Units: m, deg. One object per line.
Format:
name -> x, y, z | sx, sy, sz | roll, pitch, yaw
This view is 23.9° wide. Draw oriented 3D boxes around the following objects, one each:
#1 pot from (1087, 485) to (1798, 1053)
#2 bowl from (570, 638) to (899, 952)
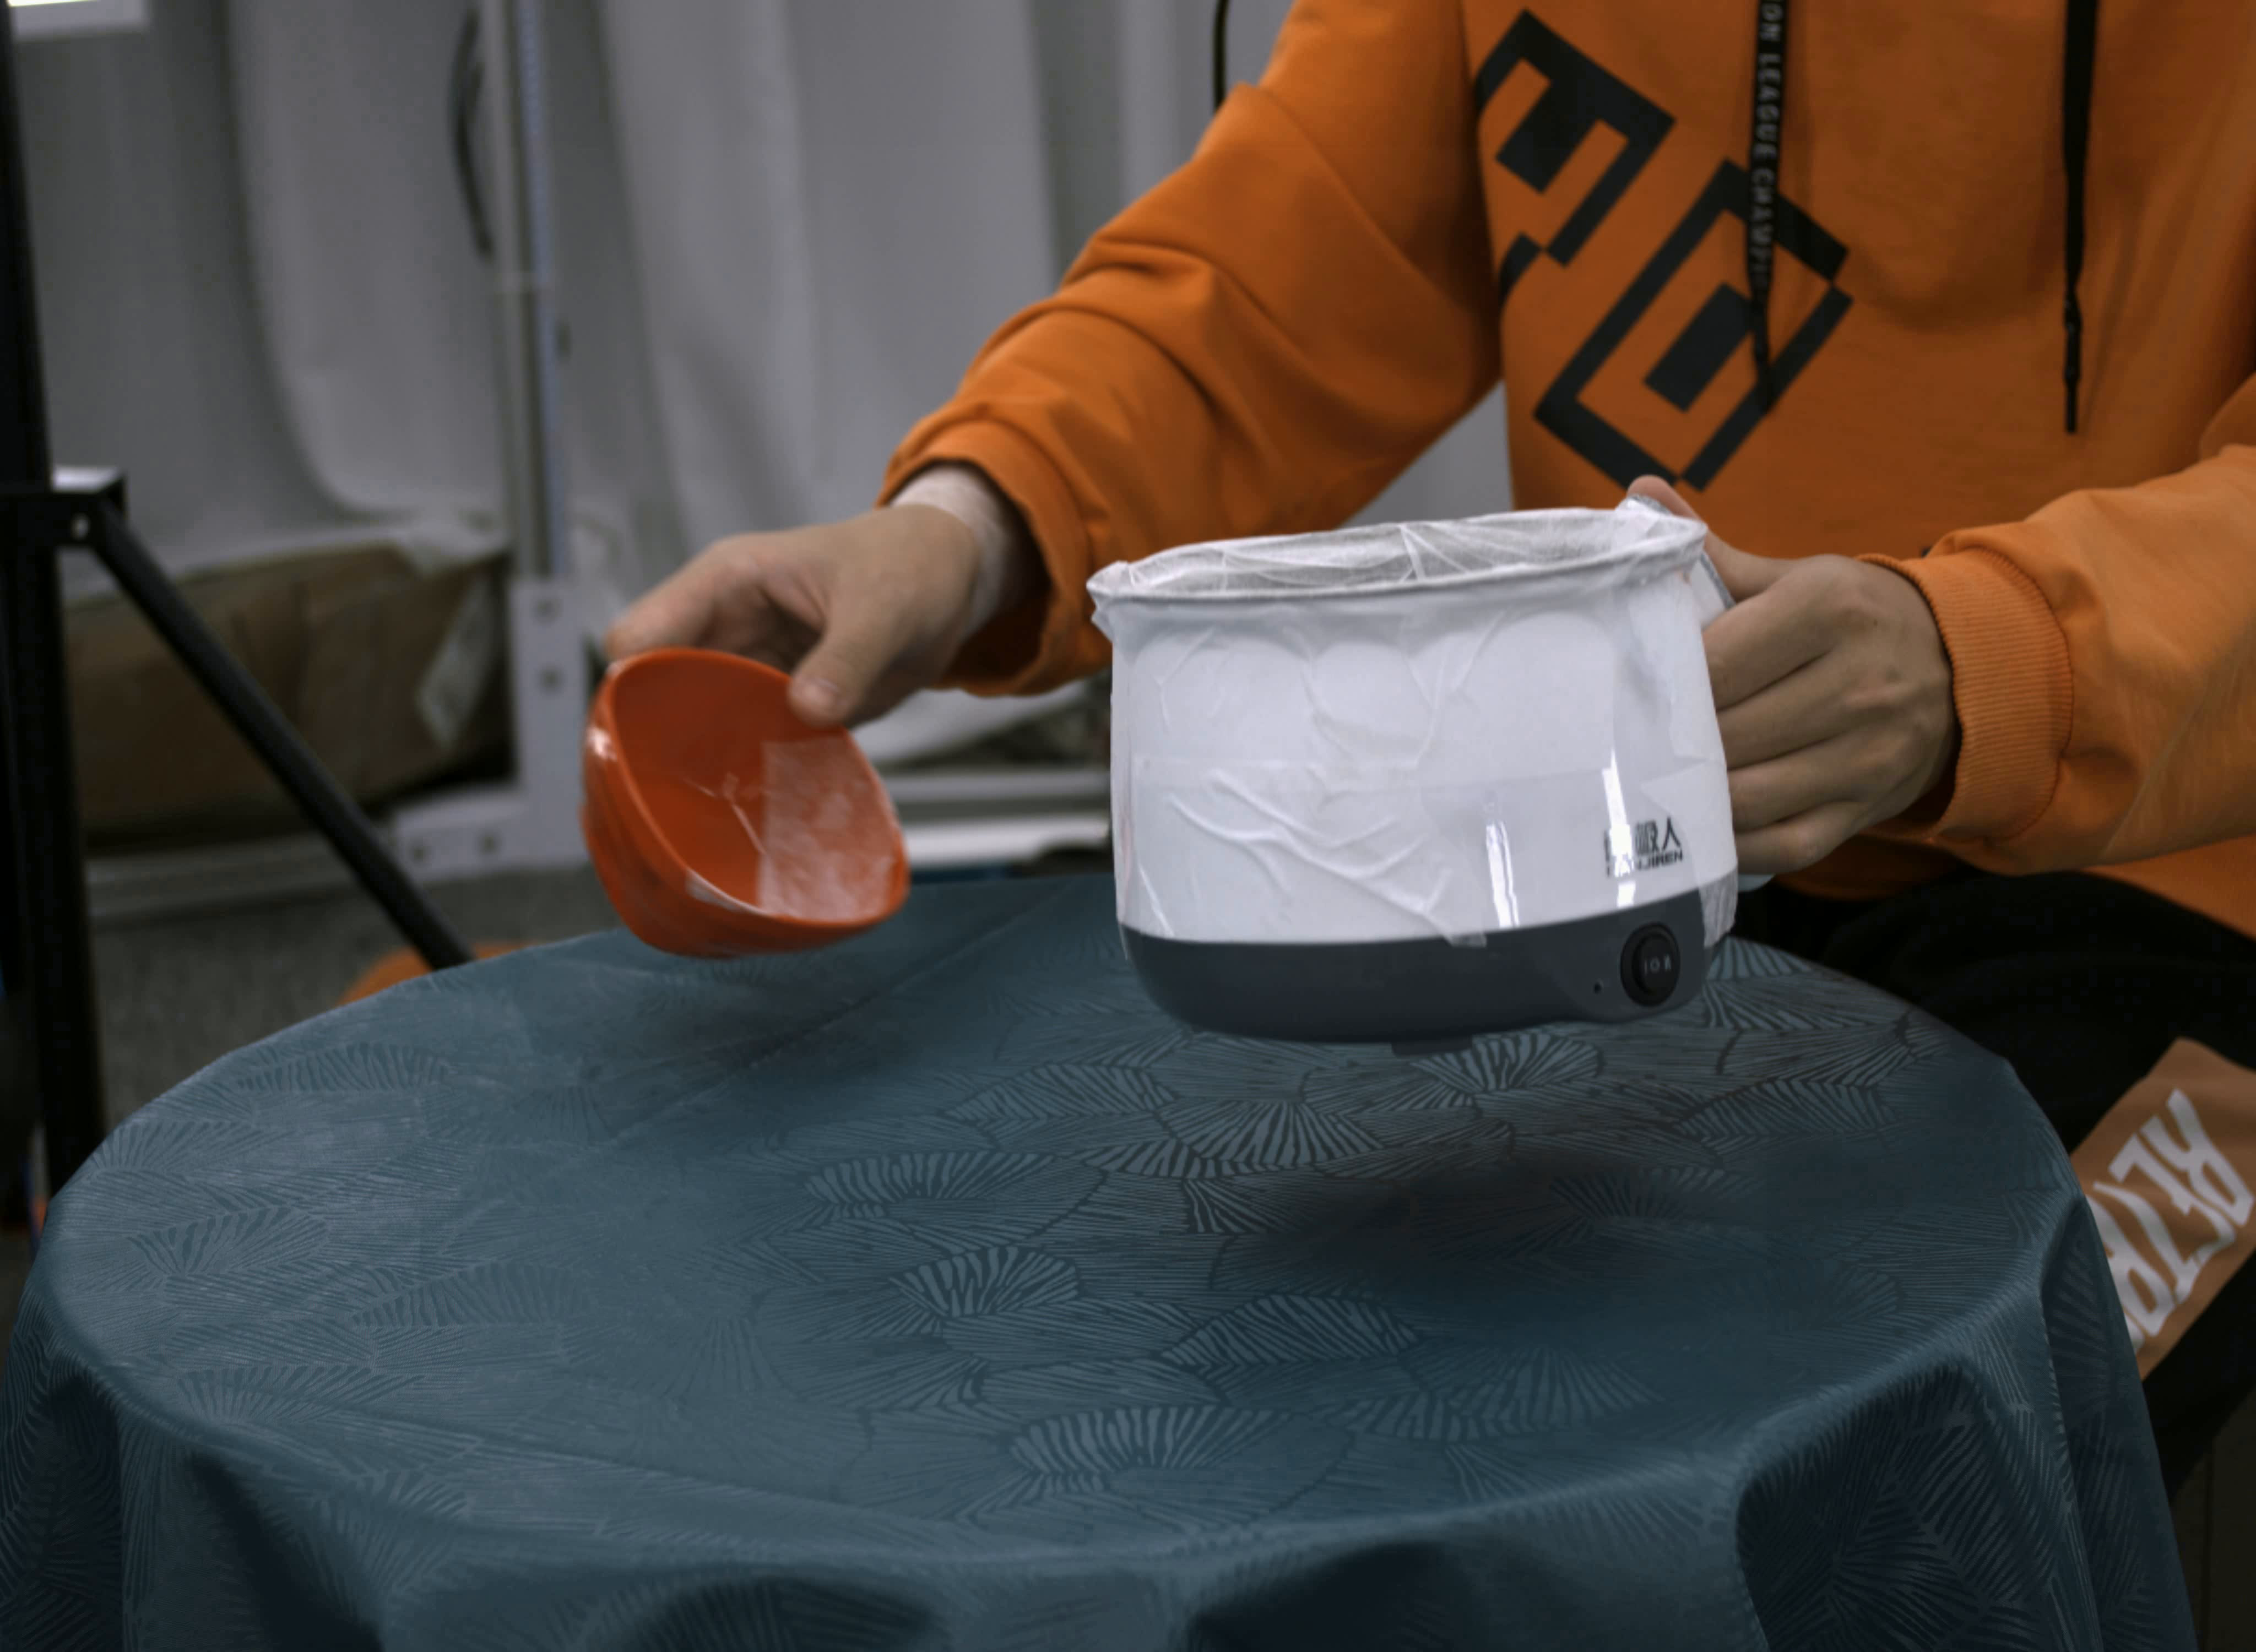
pot -> 0.102, -0.020, 1.519 | 0.228, 0.137, 0.182 | -12, 10, -41
bowl -> -0.134, -0.001, 1.709 | 0.116, 0.052, 0.120 | 26, 37, -23
